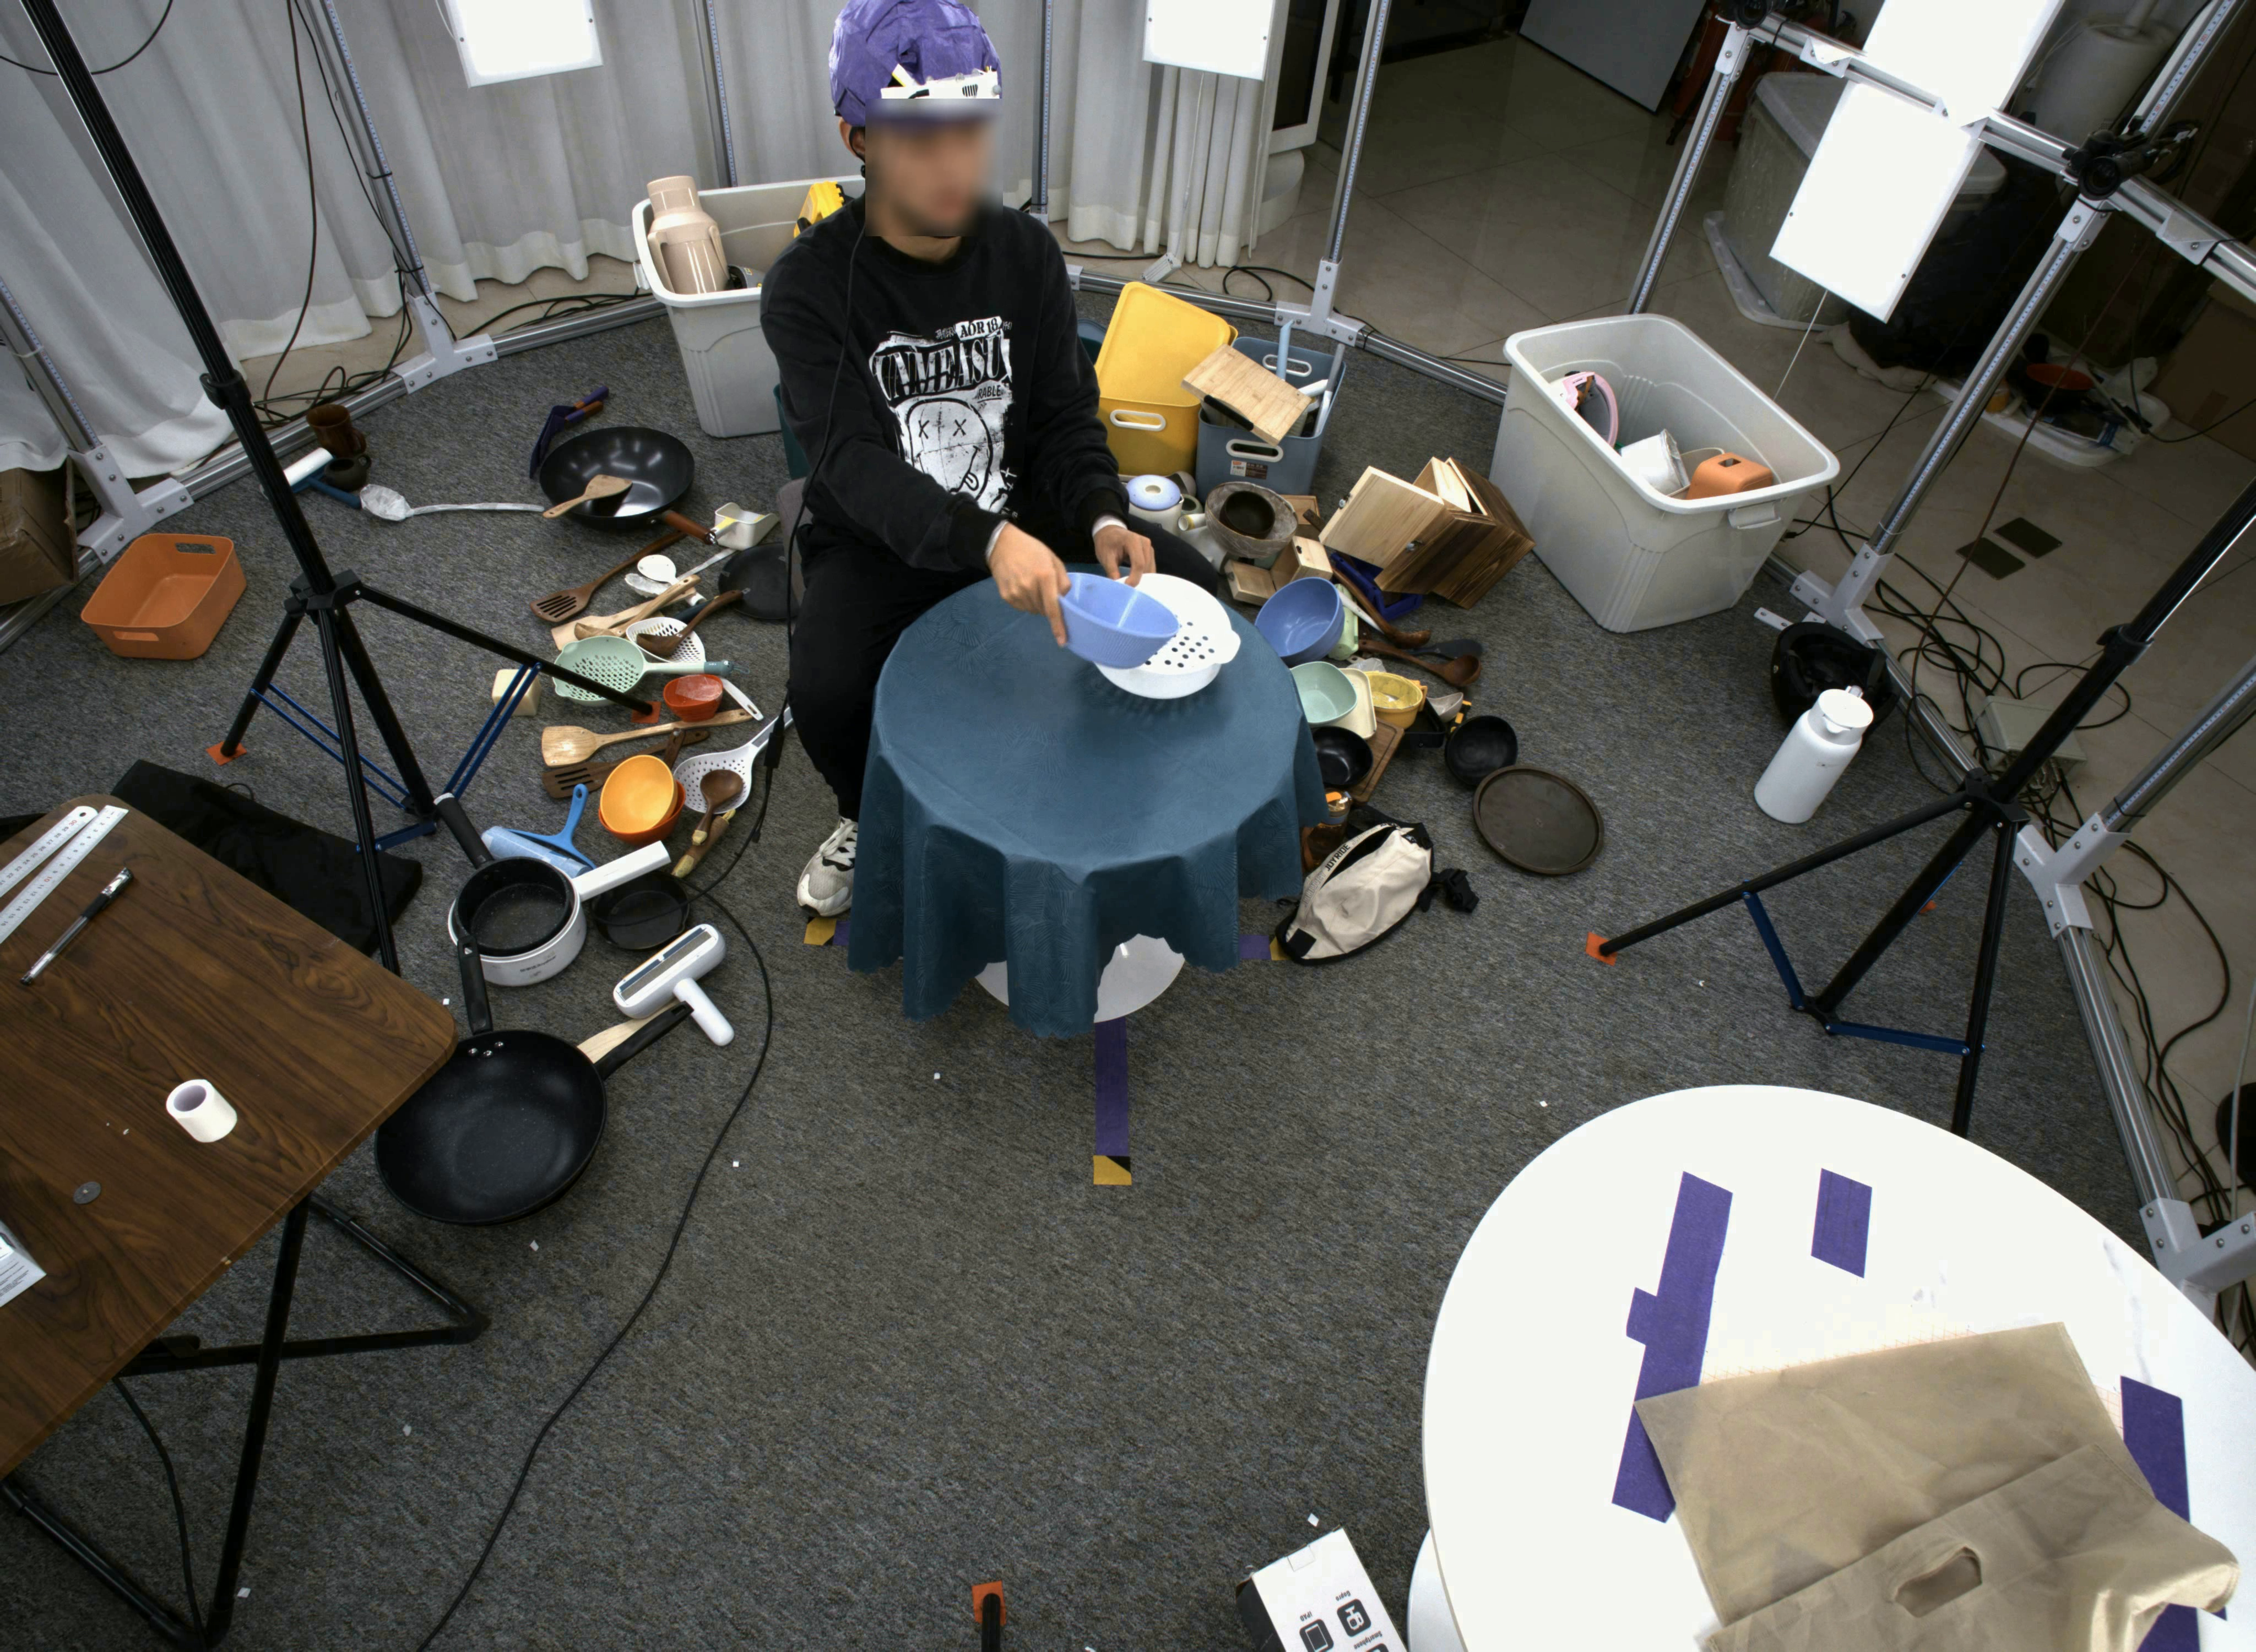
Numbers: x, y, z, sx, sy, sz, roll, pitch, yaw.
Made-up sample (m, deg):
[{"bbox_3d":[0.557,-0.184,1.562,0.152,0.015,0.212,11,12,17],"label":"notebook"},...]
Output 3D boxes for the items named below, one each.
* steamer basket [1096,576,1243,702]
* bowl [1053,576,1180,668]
[{"bbox_3d":[0.047,-0.267,1.841,0.231,0.067,0.206,22,51,7],"label":"steamer basket"},{"bbox_3d":[-0.025,-0.262,1.682,0.175,0.069,0.179,18,24,-9],"label":"bowl"}]
